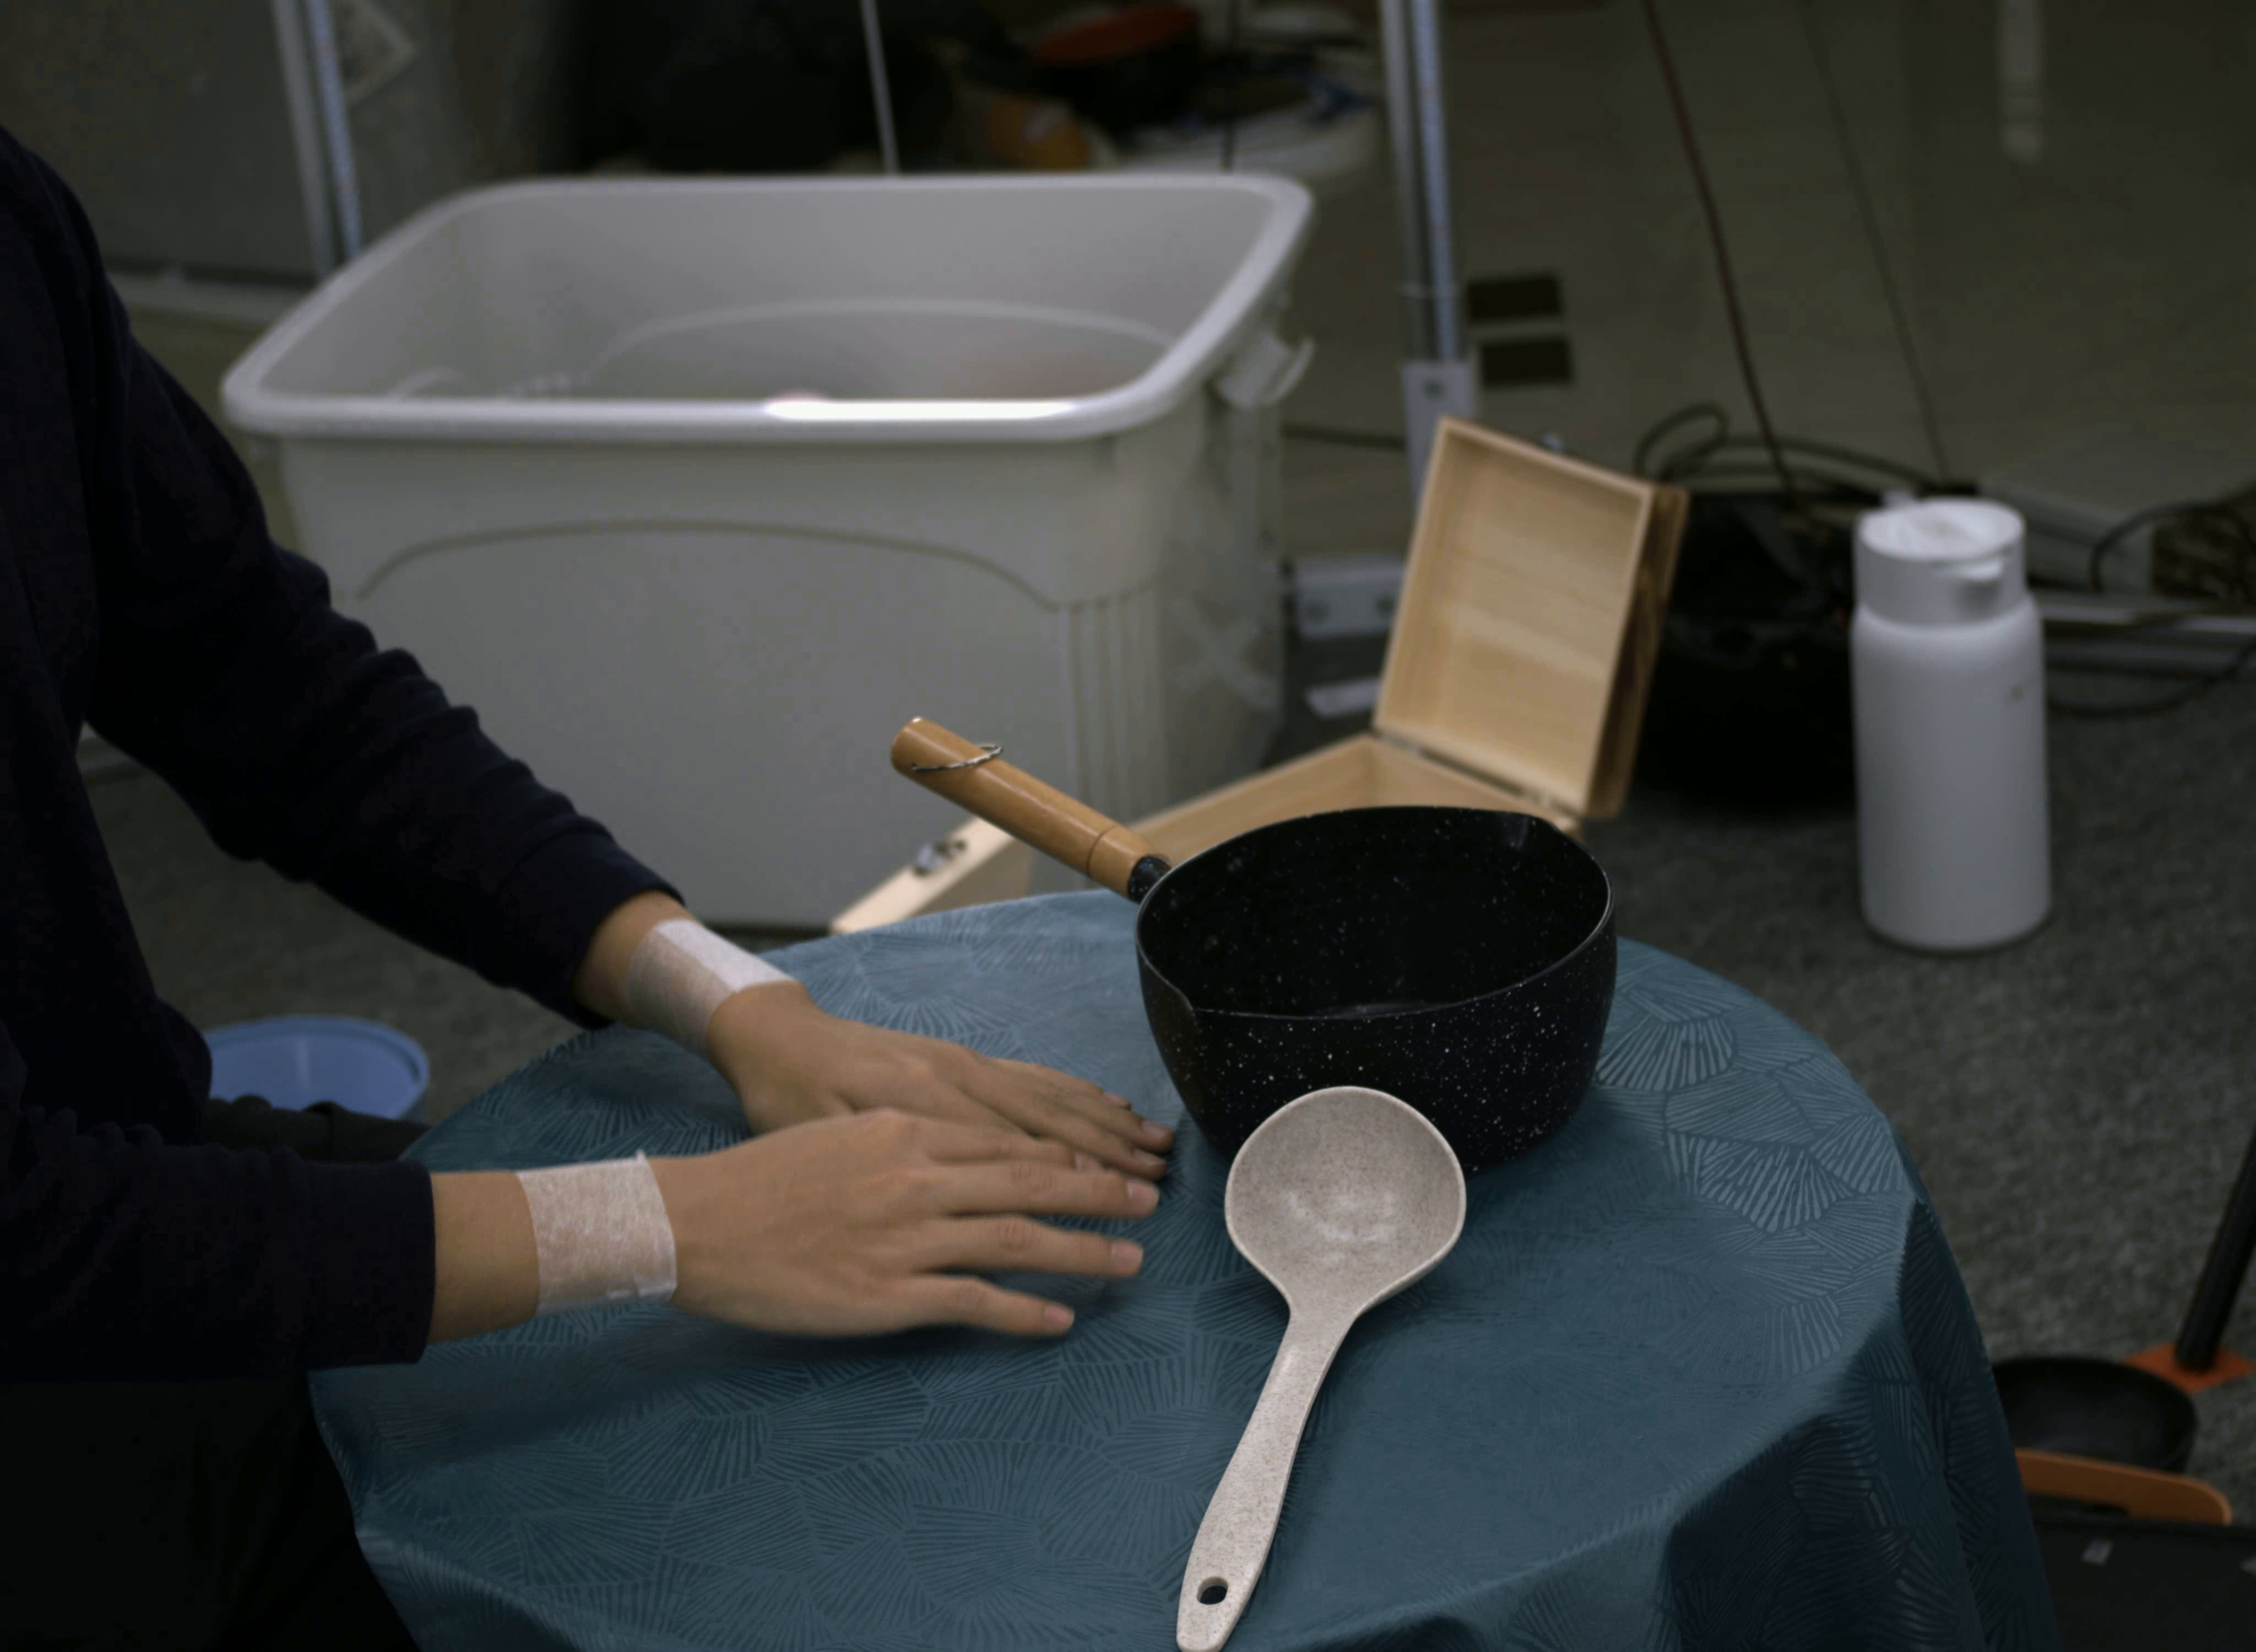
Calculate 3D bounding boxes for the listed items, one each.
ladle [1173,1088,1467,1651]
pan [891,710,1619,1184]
[{"bbox_3d":[0.053,0.182,1.959,0.089,0.070,0.271,6,27,13],"label":"ladle"},{"bbox_3d":[0.037,0.041,2.217,0.340,0.110,0.205,17,35,38],"label":"pan"}]
